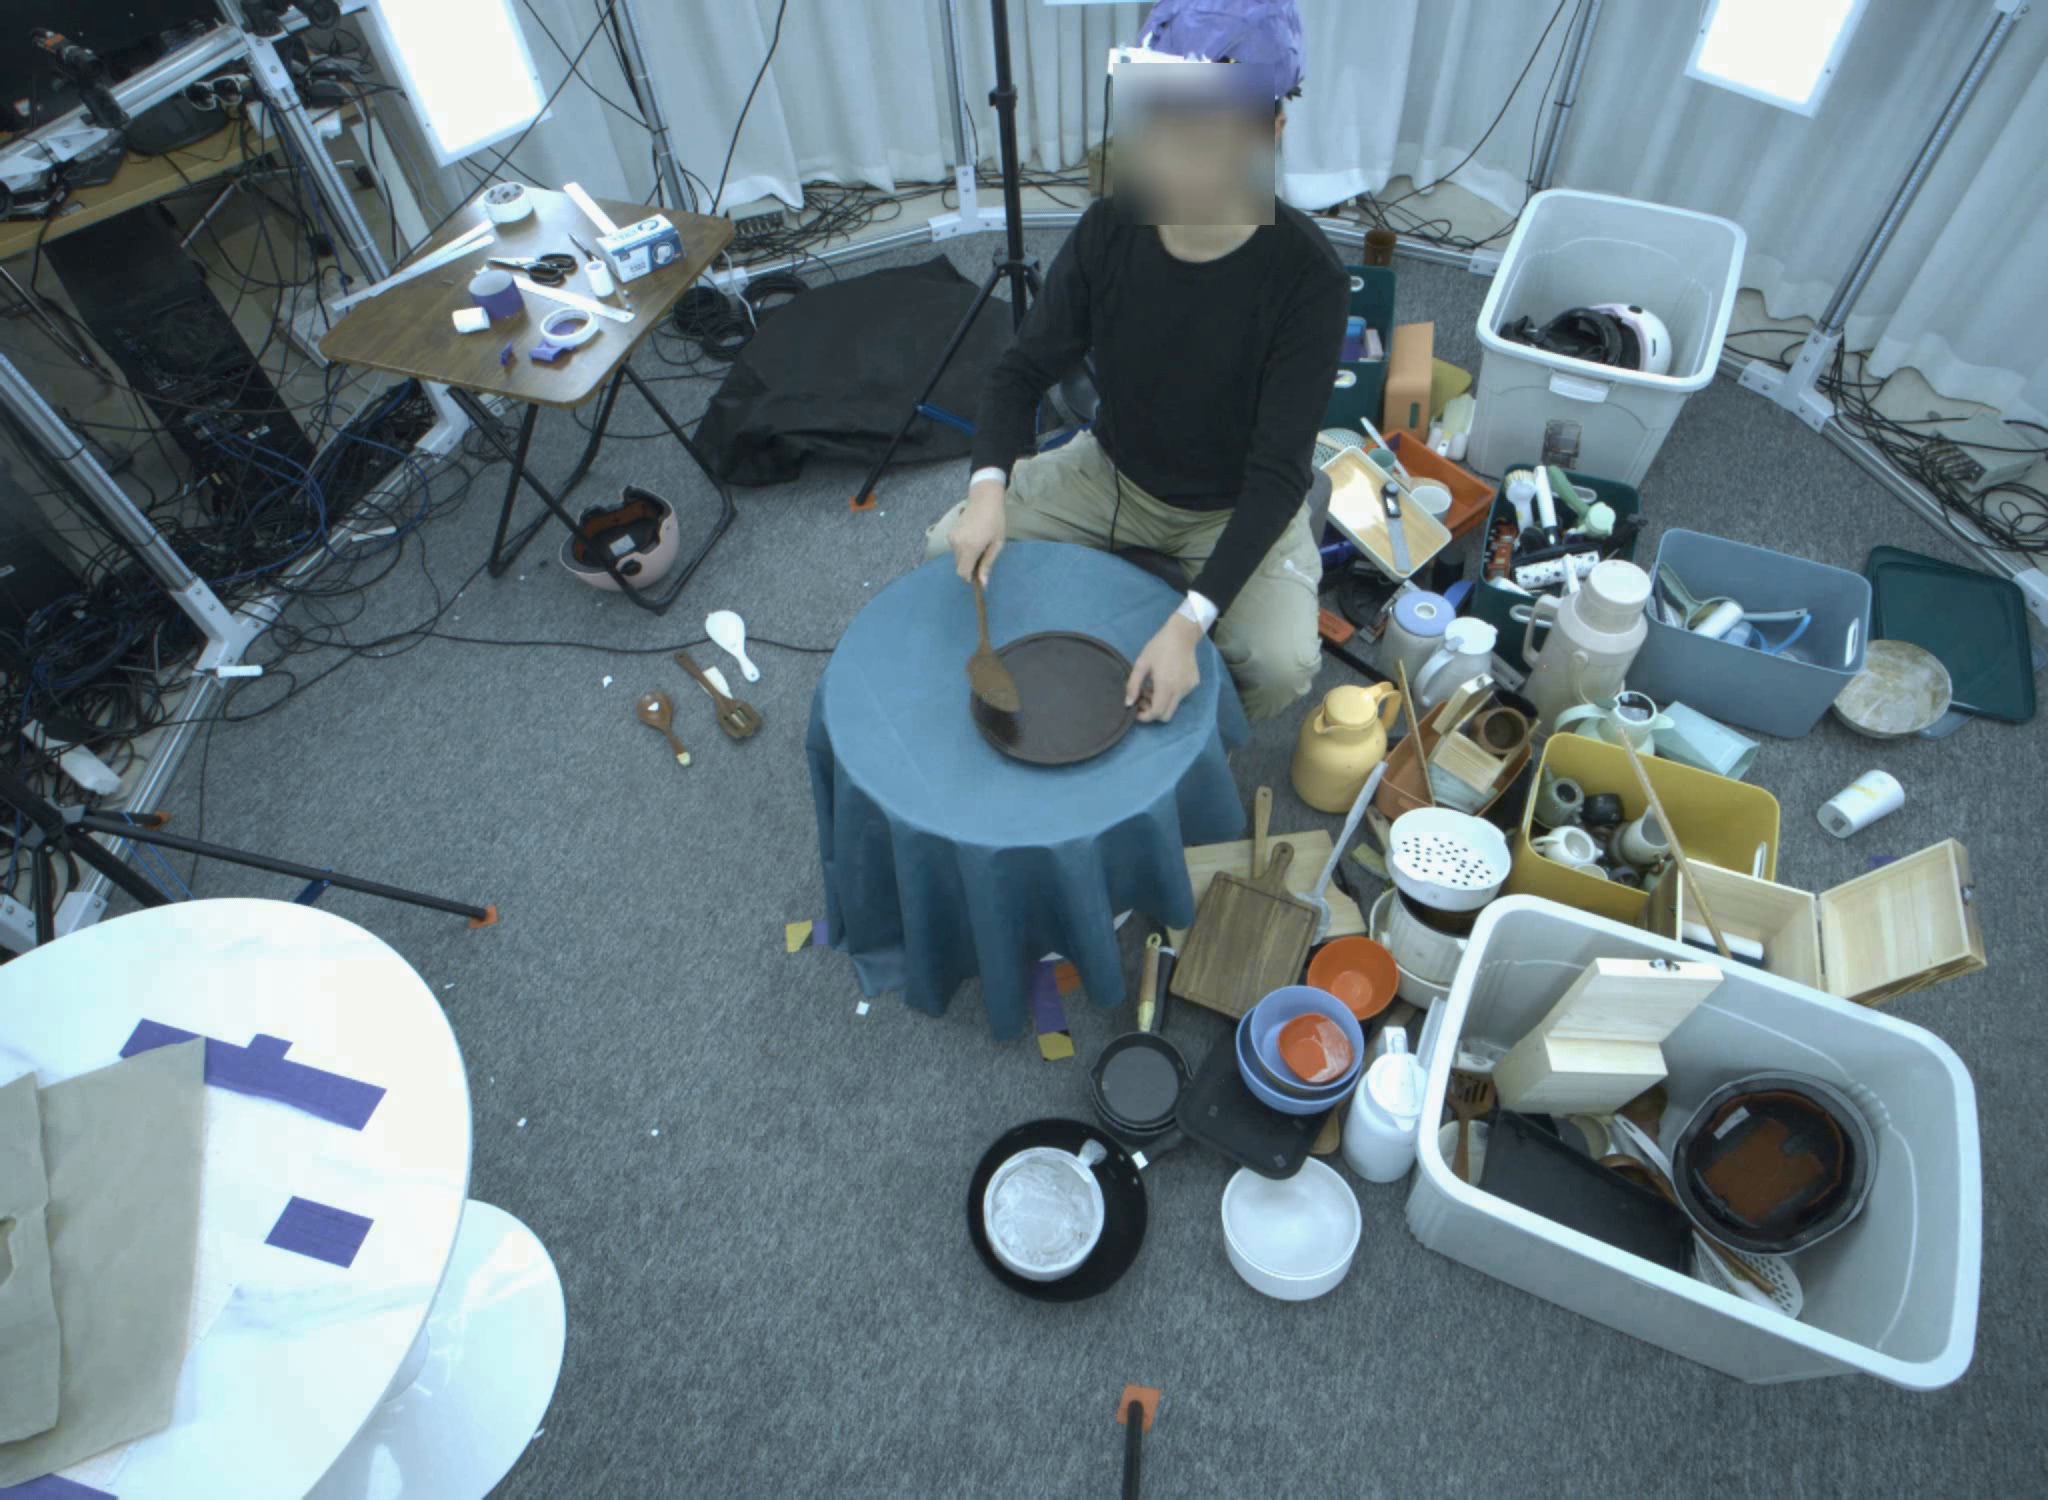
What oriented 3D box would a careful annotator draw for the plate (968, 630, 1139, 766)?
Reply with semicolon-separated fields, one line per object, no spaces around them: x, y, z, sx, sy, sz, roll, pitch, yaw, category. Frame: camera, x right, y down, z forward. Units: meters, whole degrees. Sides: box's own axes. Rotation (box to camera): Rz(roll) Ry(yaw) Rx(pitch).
0.045;-0.079;1.827;0.254;0.029;0.252;-1;54;3;plate

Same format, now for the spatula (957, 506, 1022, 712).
-0.066;-0.221;1.832;0.015;0.098;0.381;-32;54;34;spatula
